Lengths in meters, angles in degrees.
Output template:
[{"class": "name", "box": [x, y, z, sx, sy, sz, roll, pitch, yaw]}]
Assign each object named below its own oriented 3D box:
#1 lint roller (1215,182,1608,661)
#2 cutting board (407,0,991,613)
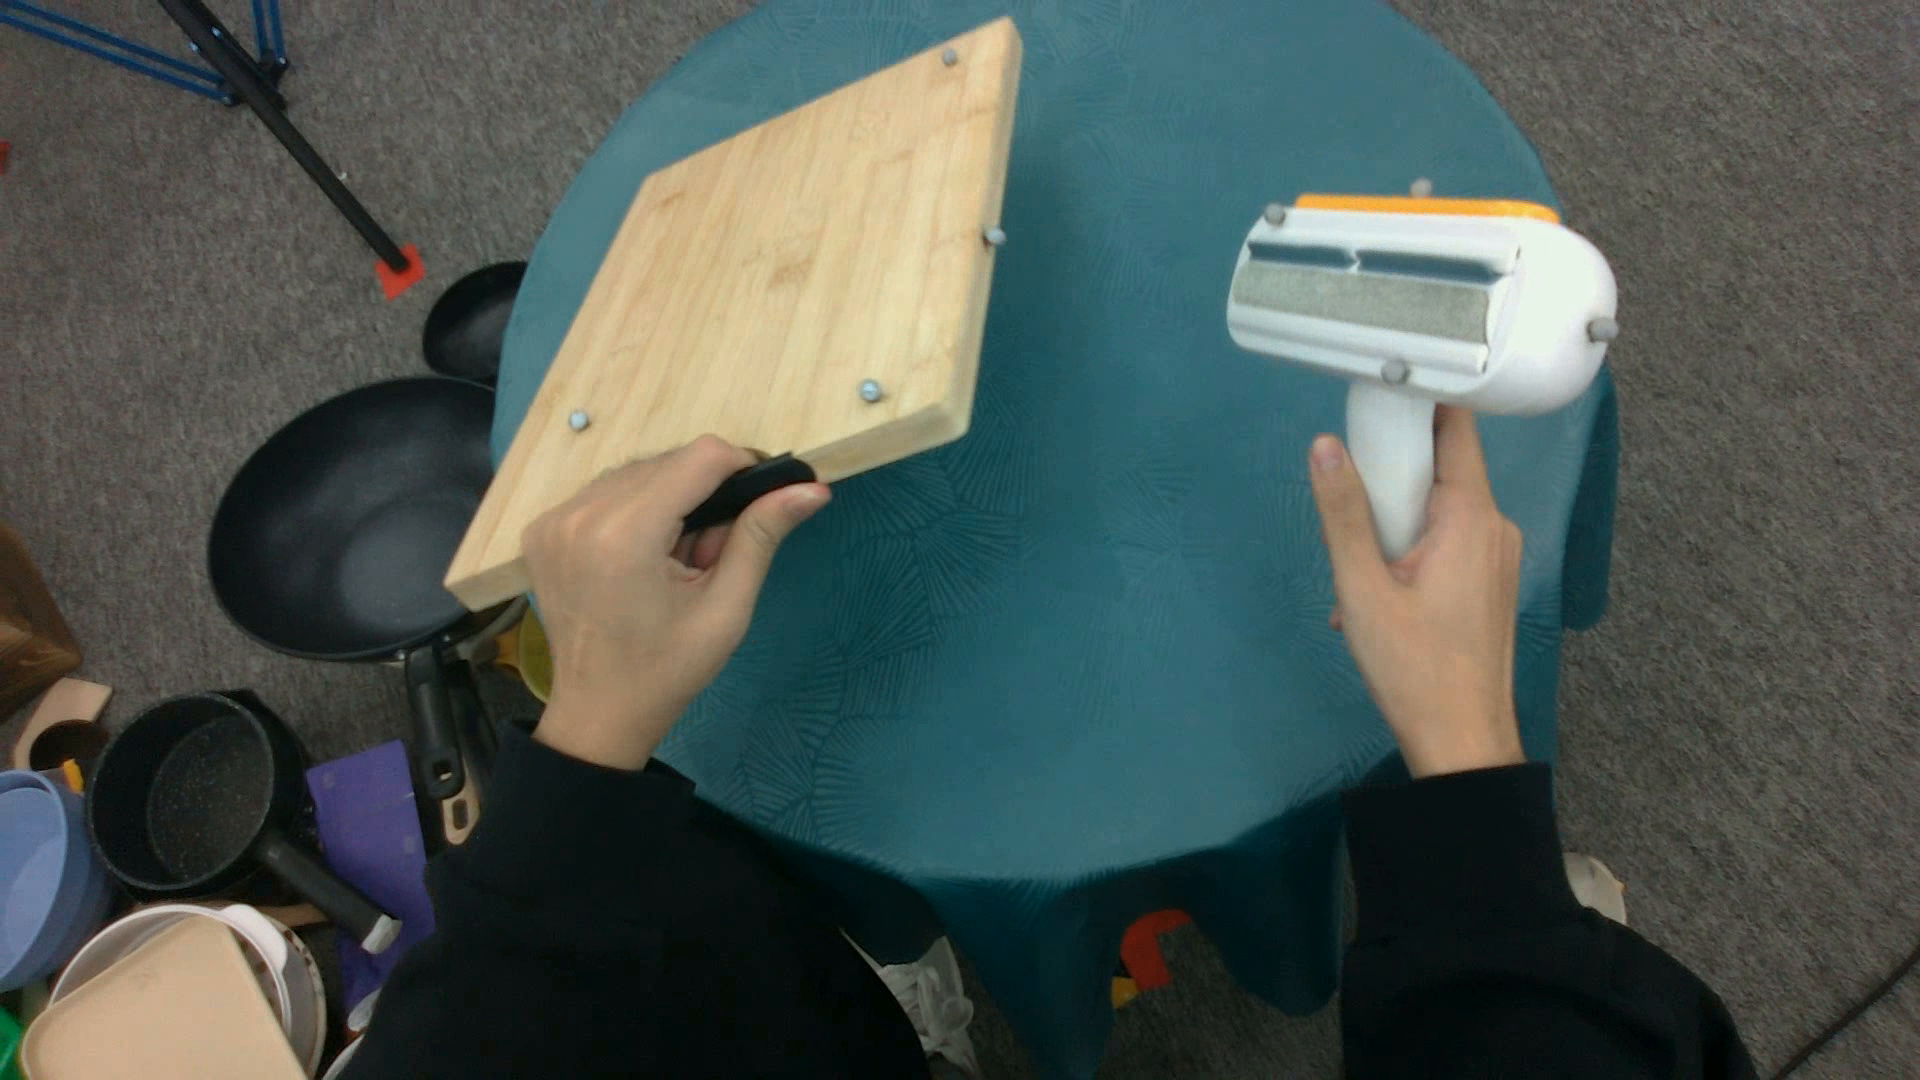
[{"class": "lint roller", "box": [0.166, -0.040, 0.556, 0.074, 0.192, 0.193, -2, 18, -25]}, {"class": "cutting board", "box": [-0.106, -0.129, 0.652, 0.250, 0.023, 0.350, -19, 39, 22]}]
